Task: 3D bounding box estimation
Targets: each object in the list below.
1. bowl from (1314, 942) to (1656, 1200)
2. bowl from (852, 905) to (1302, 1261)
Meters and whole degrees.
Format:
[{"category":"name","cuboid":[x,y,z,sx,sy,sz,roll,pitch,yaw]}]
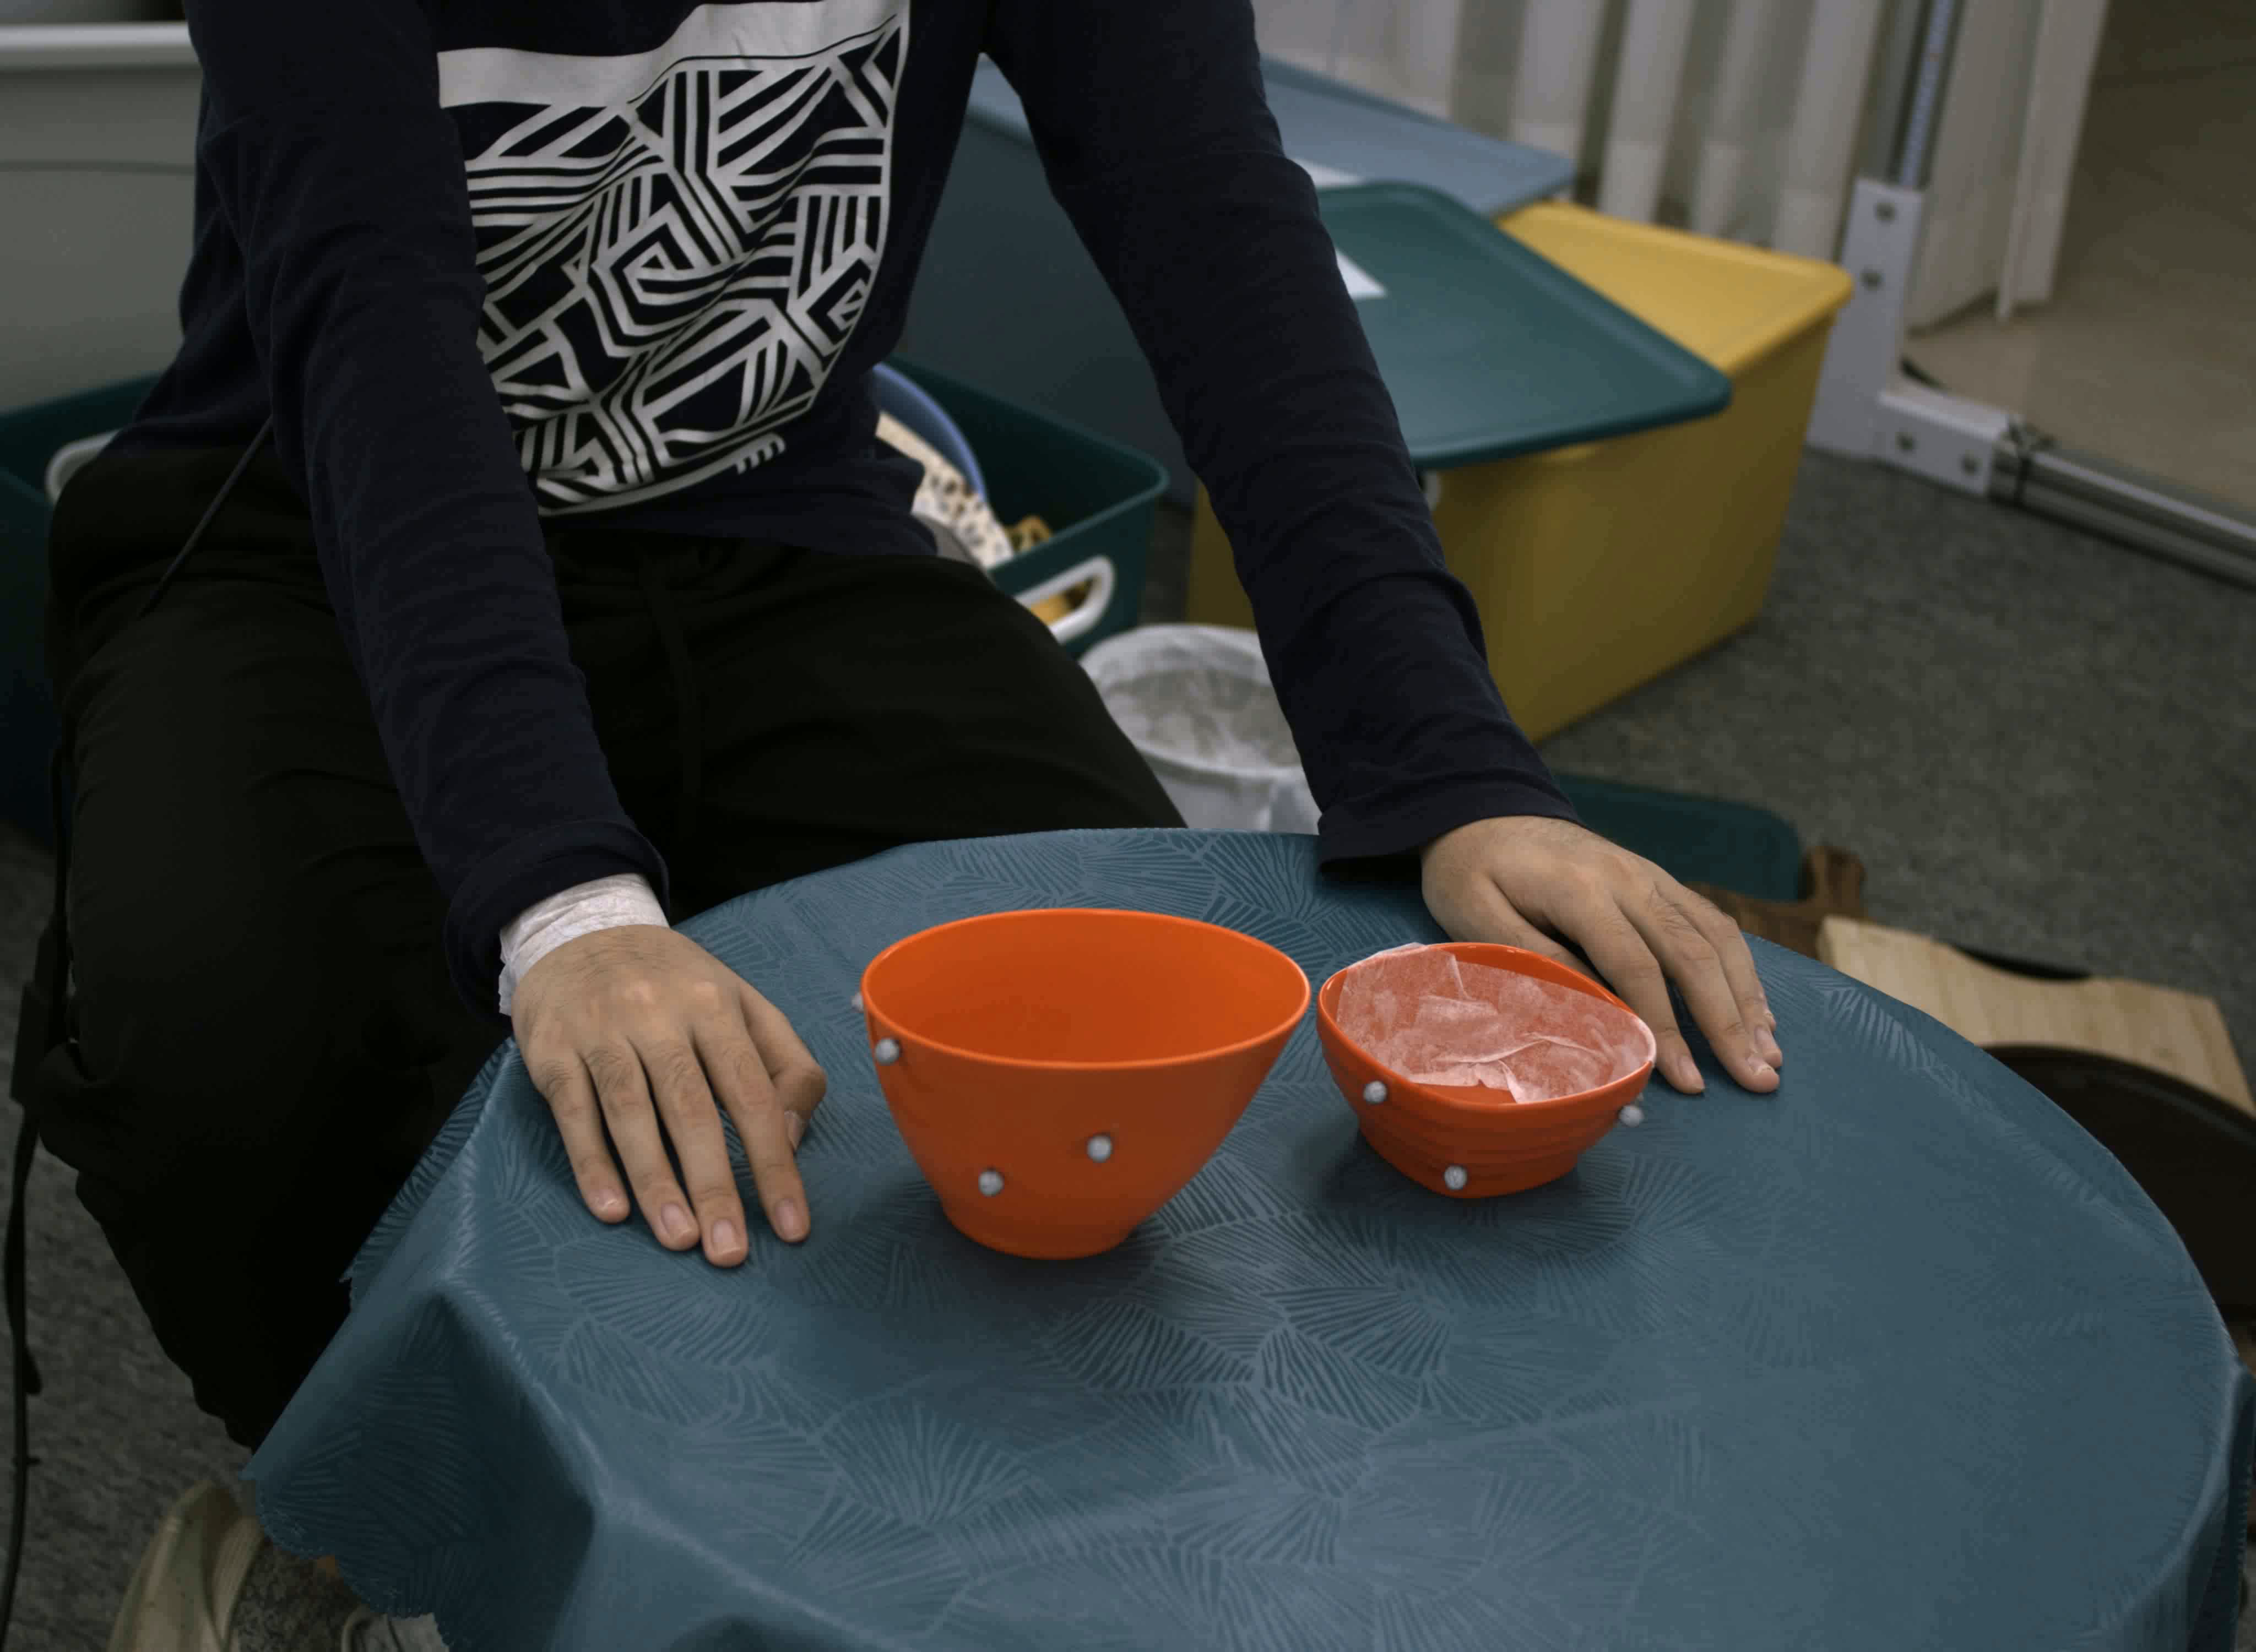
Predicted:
[{"category":"bowl","cuboid":[0.121,0.089,1.847,0.118,0.051,0.119,4,27,-2]},{"category":"bowl","cuboid":[-0.021,0.089,1.759,0.147,0.104,0.149,5,27,-3]}]
